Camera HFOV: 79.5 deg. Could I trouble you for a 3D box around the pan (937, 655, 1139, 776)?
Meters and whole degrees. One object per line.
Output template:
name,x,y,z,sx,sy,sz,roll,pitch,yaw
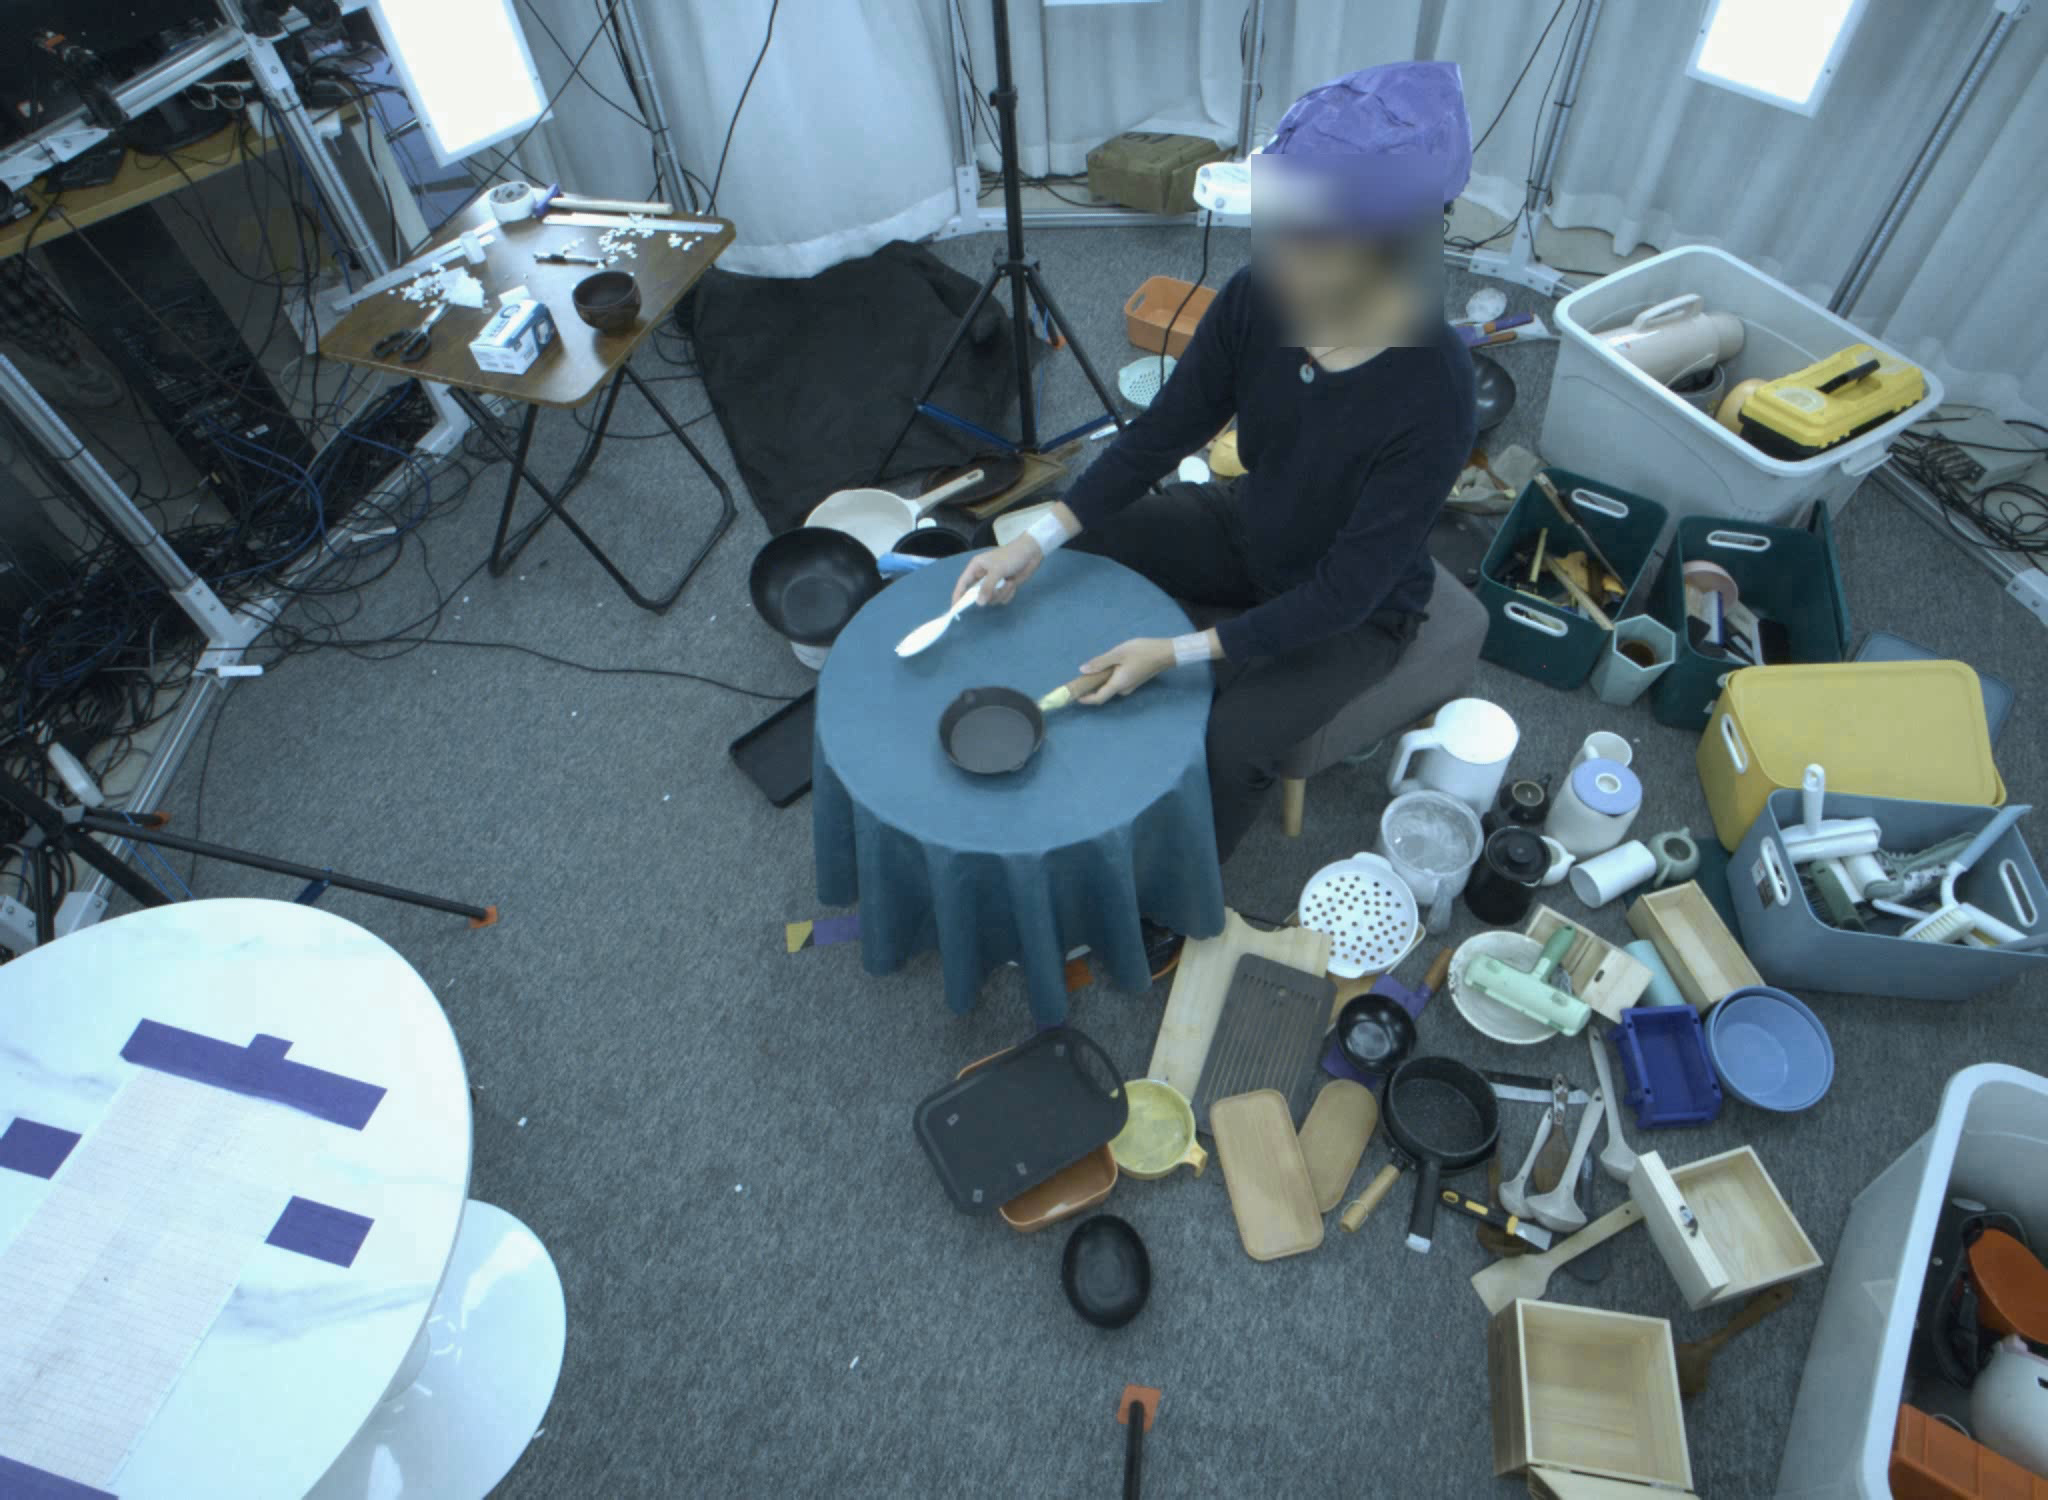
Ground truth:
pan,0.028,-0.062,1.798,0.326,0.050,0.166,-25,57,-12

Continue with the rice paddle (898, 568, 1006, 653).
rice paddle,-0.114,-0.211,1.880,0.206,0.030,0.067,-39,24,-18
